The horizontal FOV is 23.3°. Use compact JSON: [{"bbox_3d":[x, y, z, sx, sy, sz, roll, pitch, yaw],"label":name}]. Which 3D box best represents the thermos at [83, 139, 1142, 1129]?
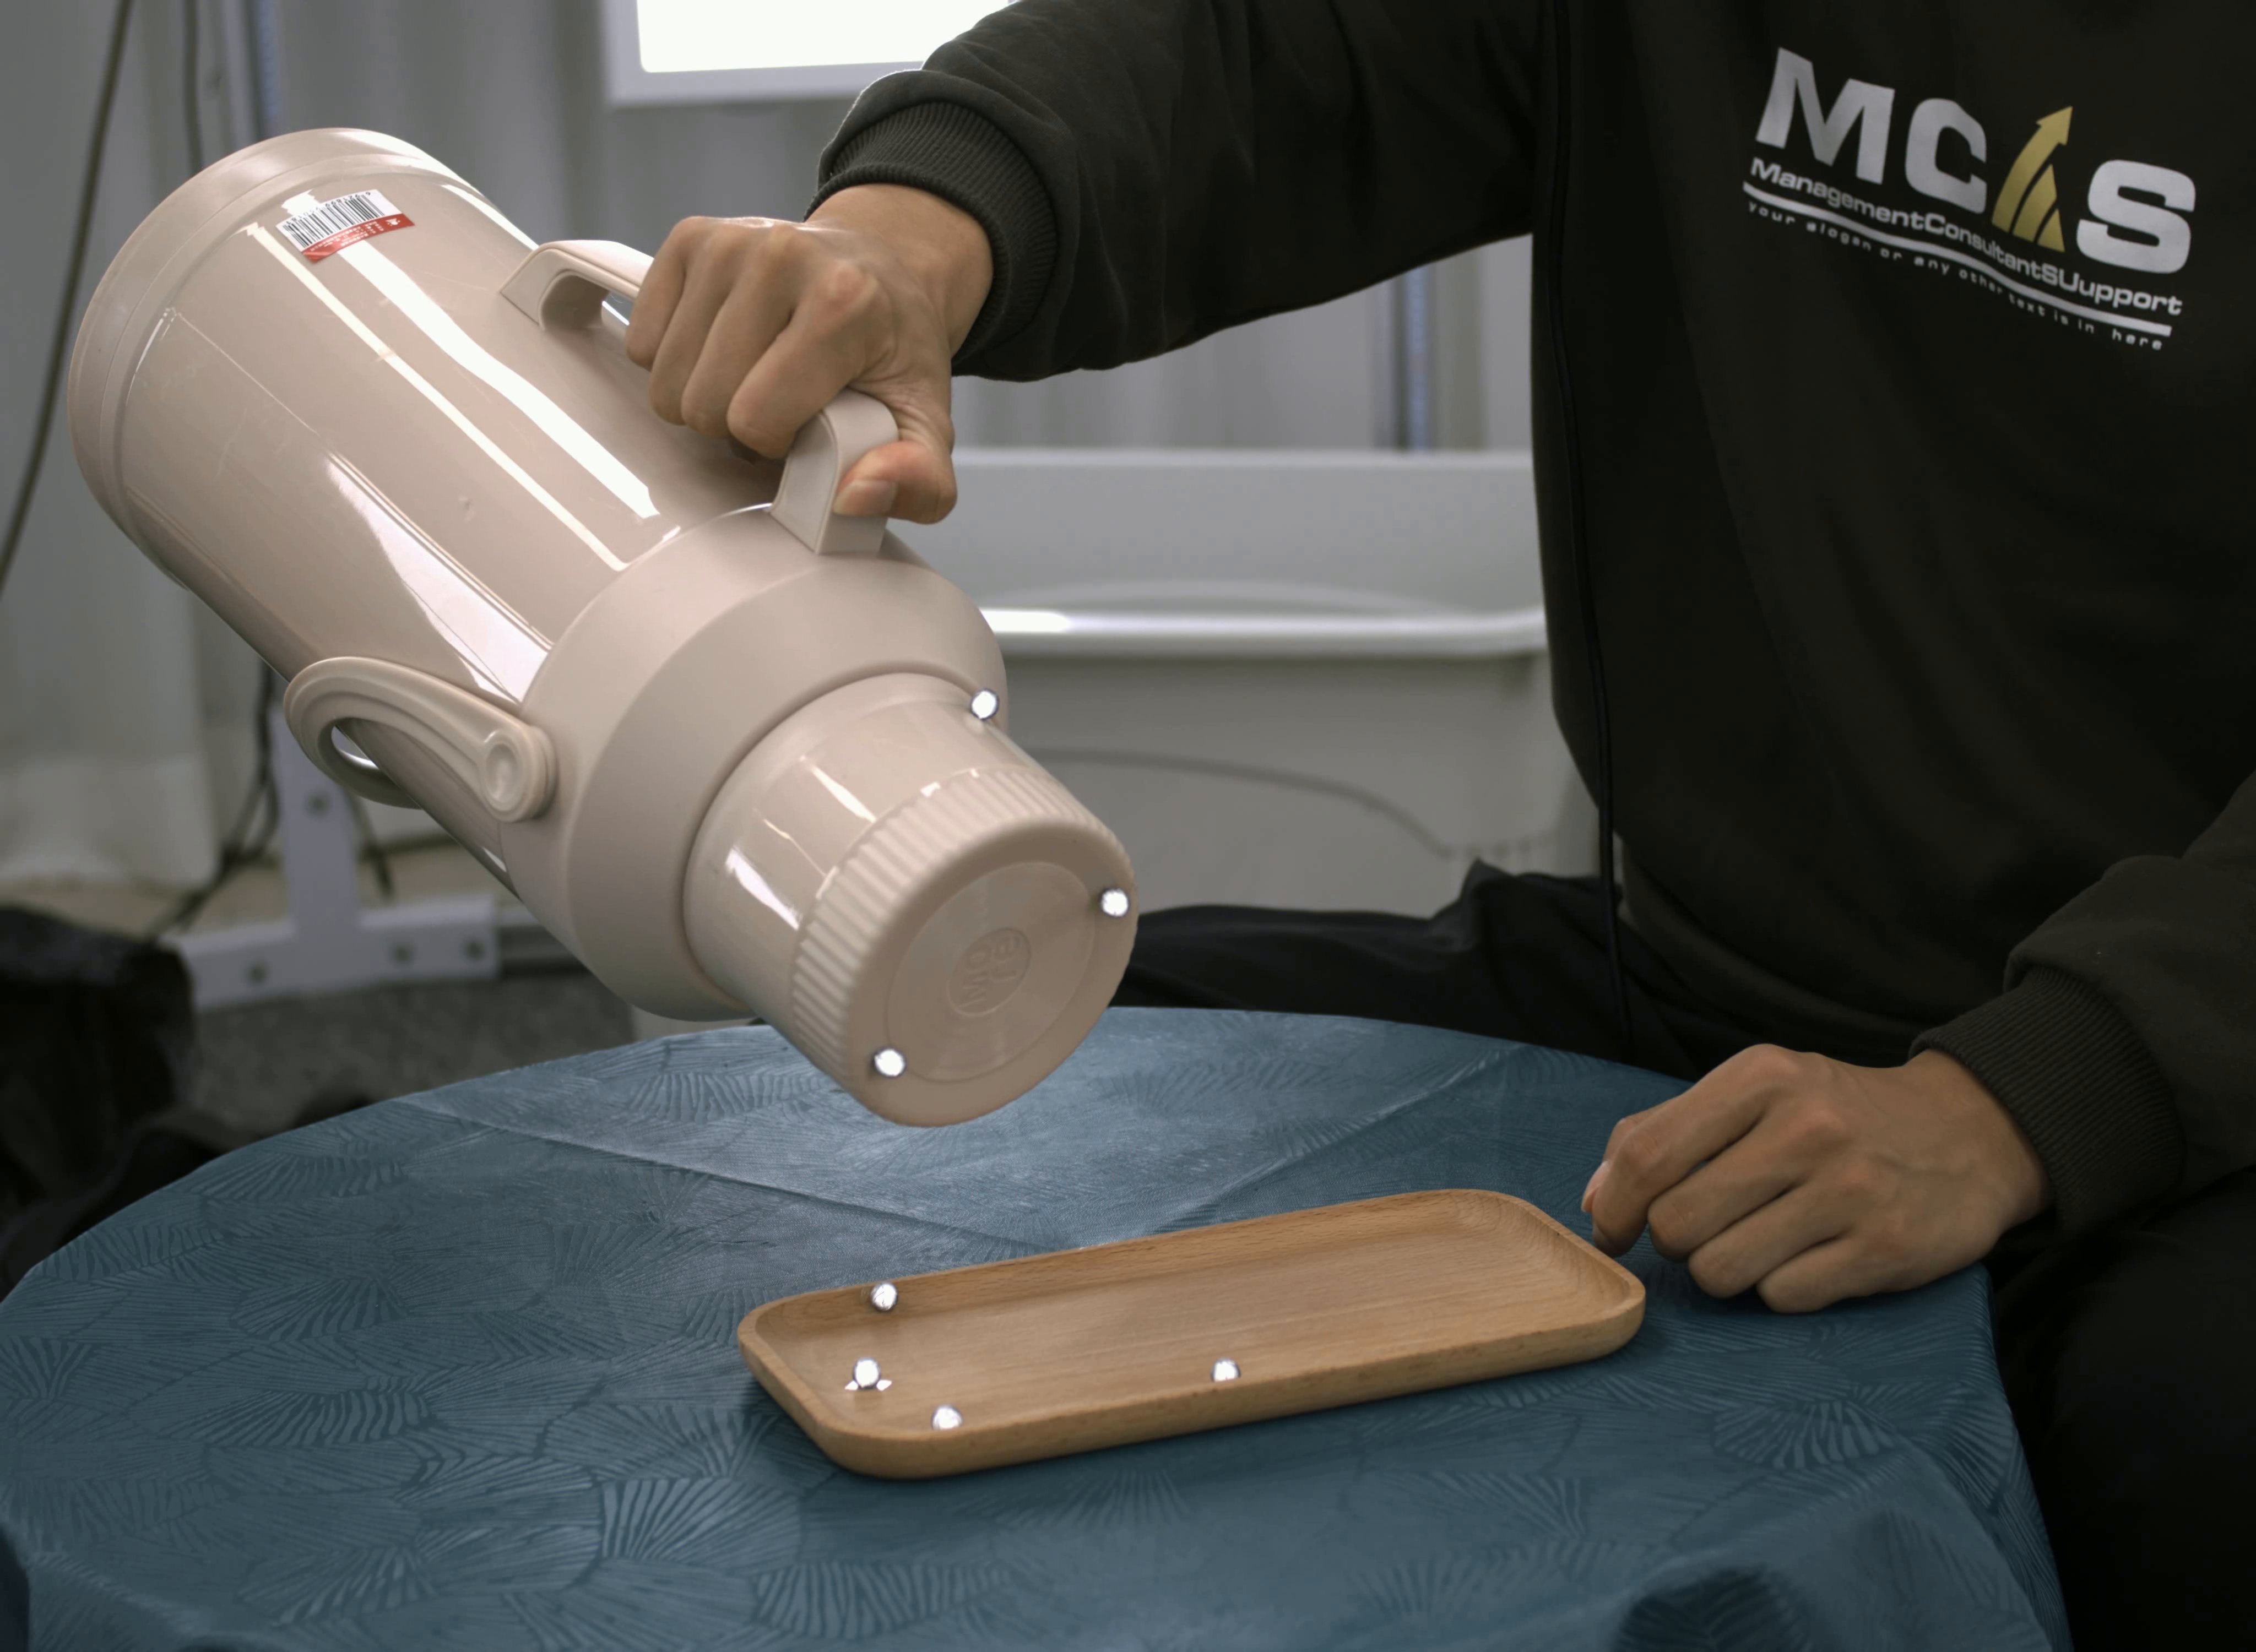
[{"bbox_3d":[-0.151,-0.069,1.662,0.174,0.205,0.411,-4,32,-39],"label":"thermos"}]

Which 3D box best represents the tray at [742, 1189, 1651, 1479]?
[{"bbox_3d":[0.020,0.145,1.572,0.249,0.023,0.132,-7,18,-18],"label":"tray"}]
